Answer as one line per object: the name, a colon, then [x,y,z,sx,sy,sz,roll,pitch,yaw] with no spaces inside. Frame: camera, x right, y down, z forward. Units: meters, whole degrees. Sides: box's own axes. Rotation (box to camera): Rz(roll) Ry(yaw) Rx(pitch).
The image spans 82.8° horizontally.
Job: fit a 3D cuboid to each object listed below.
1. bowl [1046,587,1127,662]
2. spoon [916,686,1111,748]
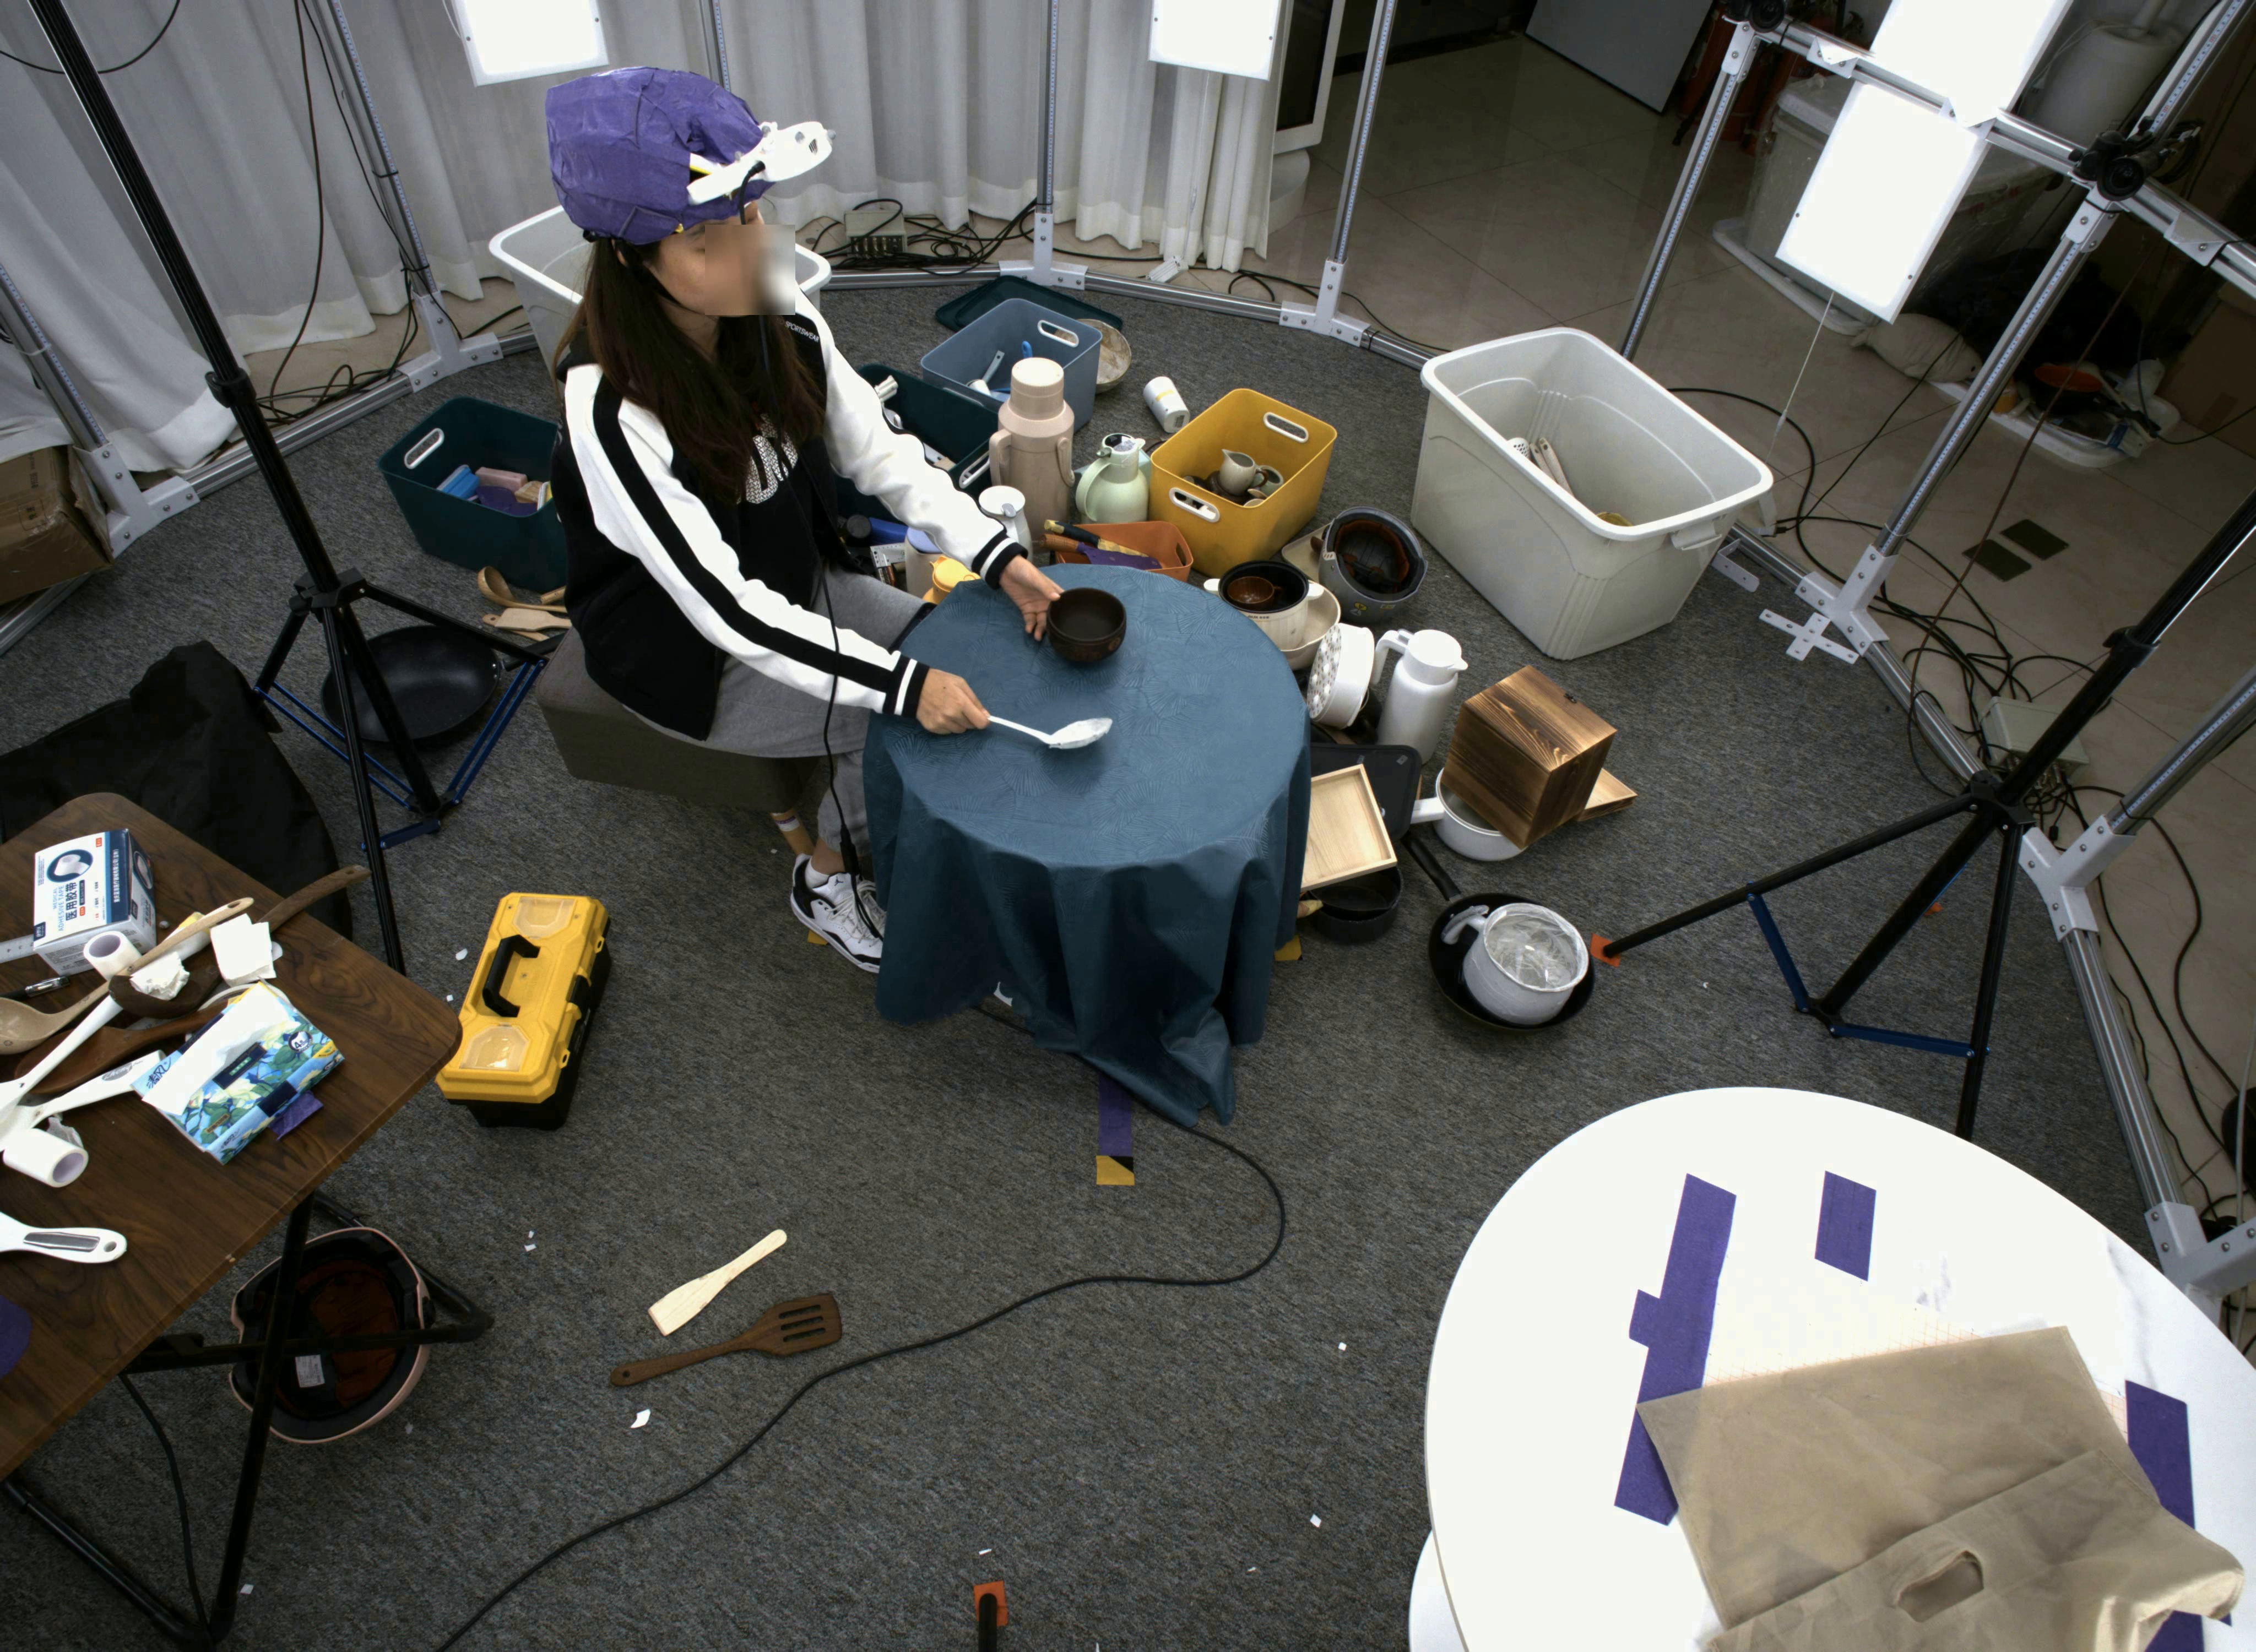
bowl: [-0.060,-0.283,1.864,0.118,0.068,0.121,2,49,-2]
spoon: [-0.158,-0.165,1.753,0.279,0.058,0.102,21,23,11]
